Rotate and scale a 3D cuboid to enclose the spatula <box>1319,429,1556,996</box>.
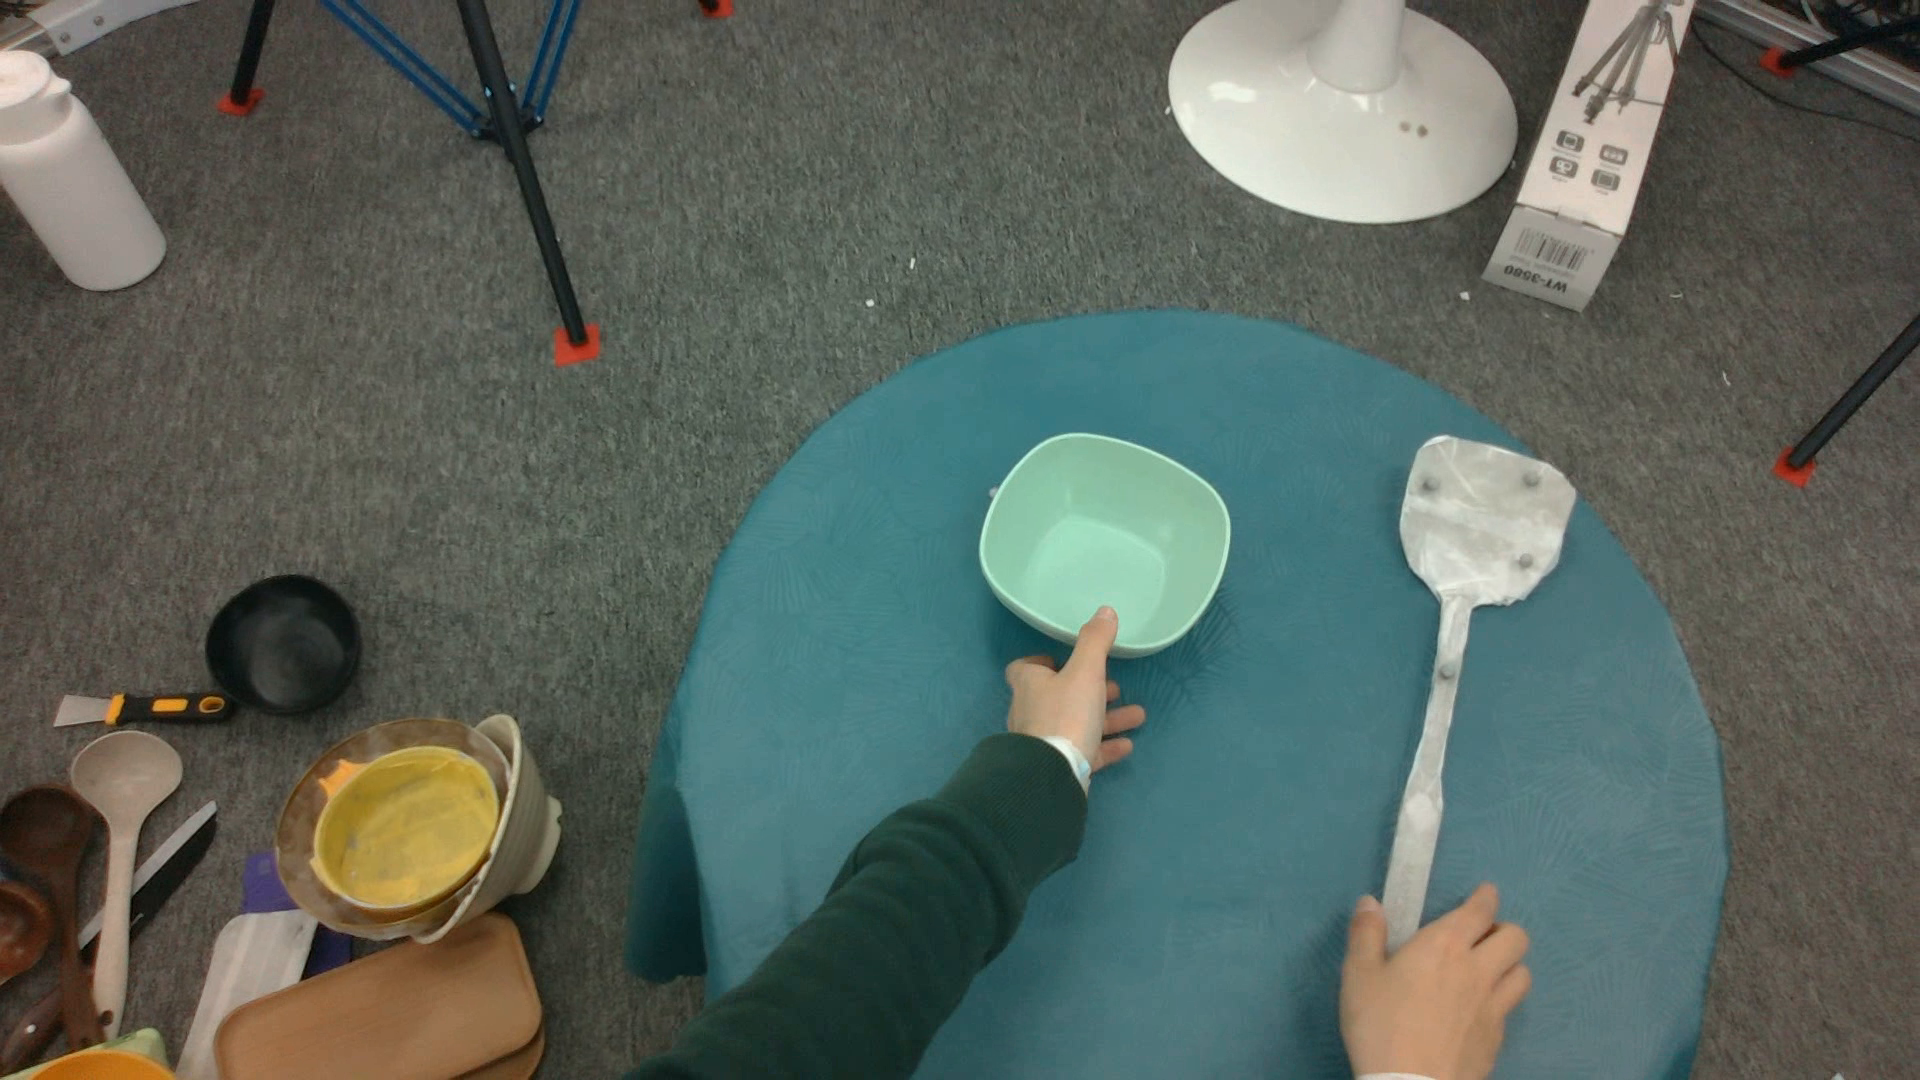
[{"bbox_3d":[0.264,0.088,0.787,0.098,0.044,0.366,21,57,7],"label":"spatula"}]

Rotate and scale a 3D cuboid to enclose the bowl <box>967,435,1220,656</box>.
[{"bbox_3d":[0.077,0.012,0.814,0.151,0.058,0.152,1,55,-2],"label":"bowl"}]
